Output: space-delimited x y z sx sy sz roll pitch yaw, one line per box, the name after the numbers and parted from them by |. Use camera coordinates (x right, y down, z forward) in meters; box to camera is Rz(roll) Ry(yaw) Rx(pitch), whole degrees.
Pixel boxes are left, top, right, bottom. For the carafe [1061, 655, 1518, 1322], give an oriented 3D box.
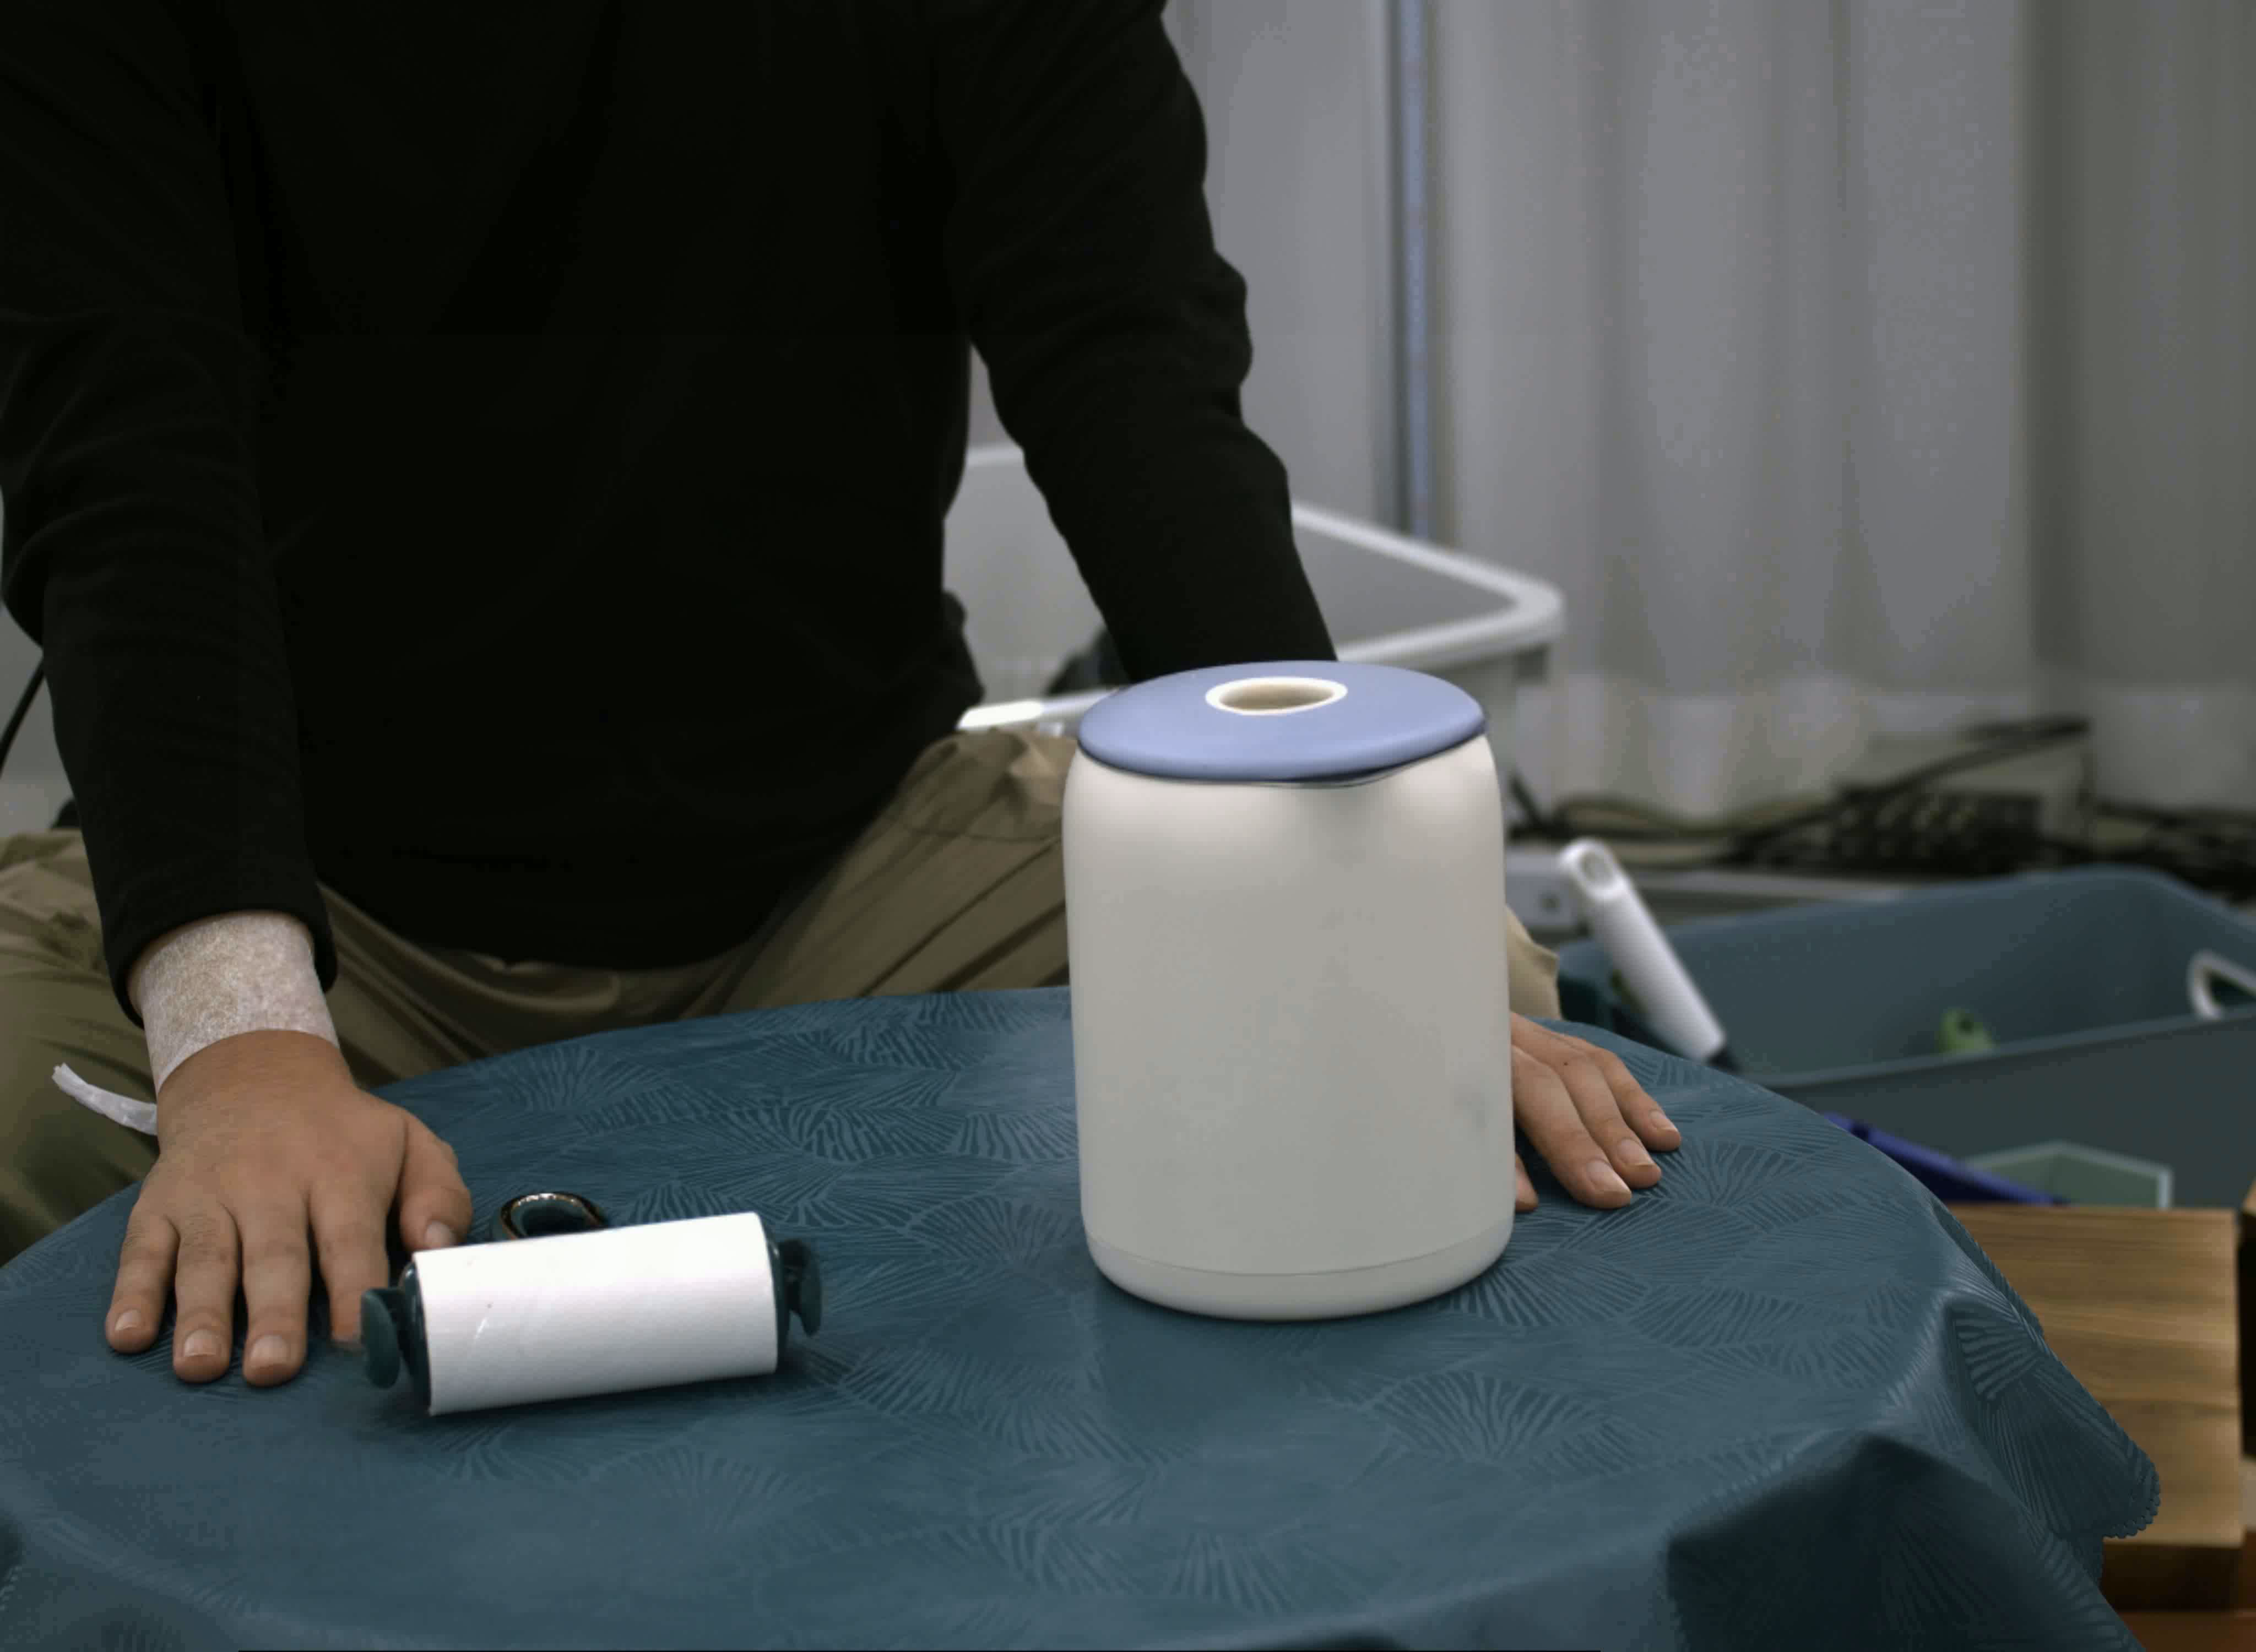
0.040 0.042 1.649 0.131 0.182 0.192 -6 12 -17 | carafe

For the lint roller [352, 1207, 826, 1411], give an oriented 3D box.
-0.168 0.126 1.625 0.134 0.048 0.181 -6 12 -11 | lint roller
